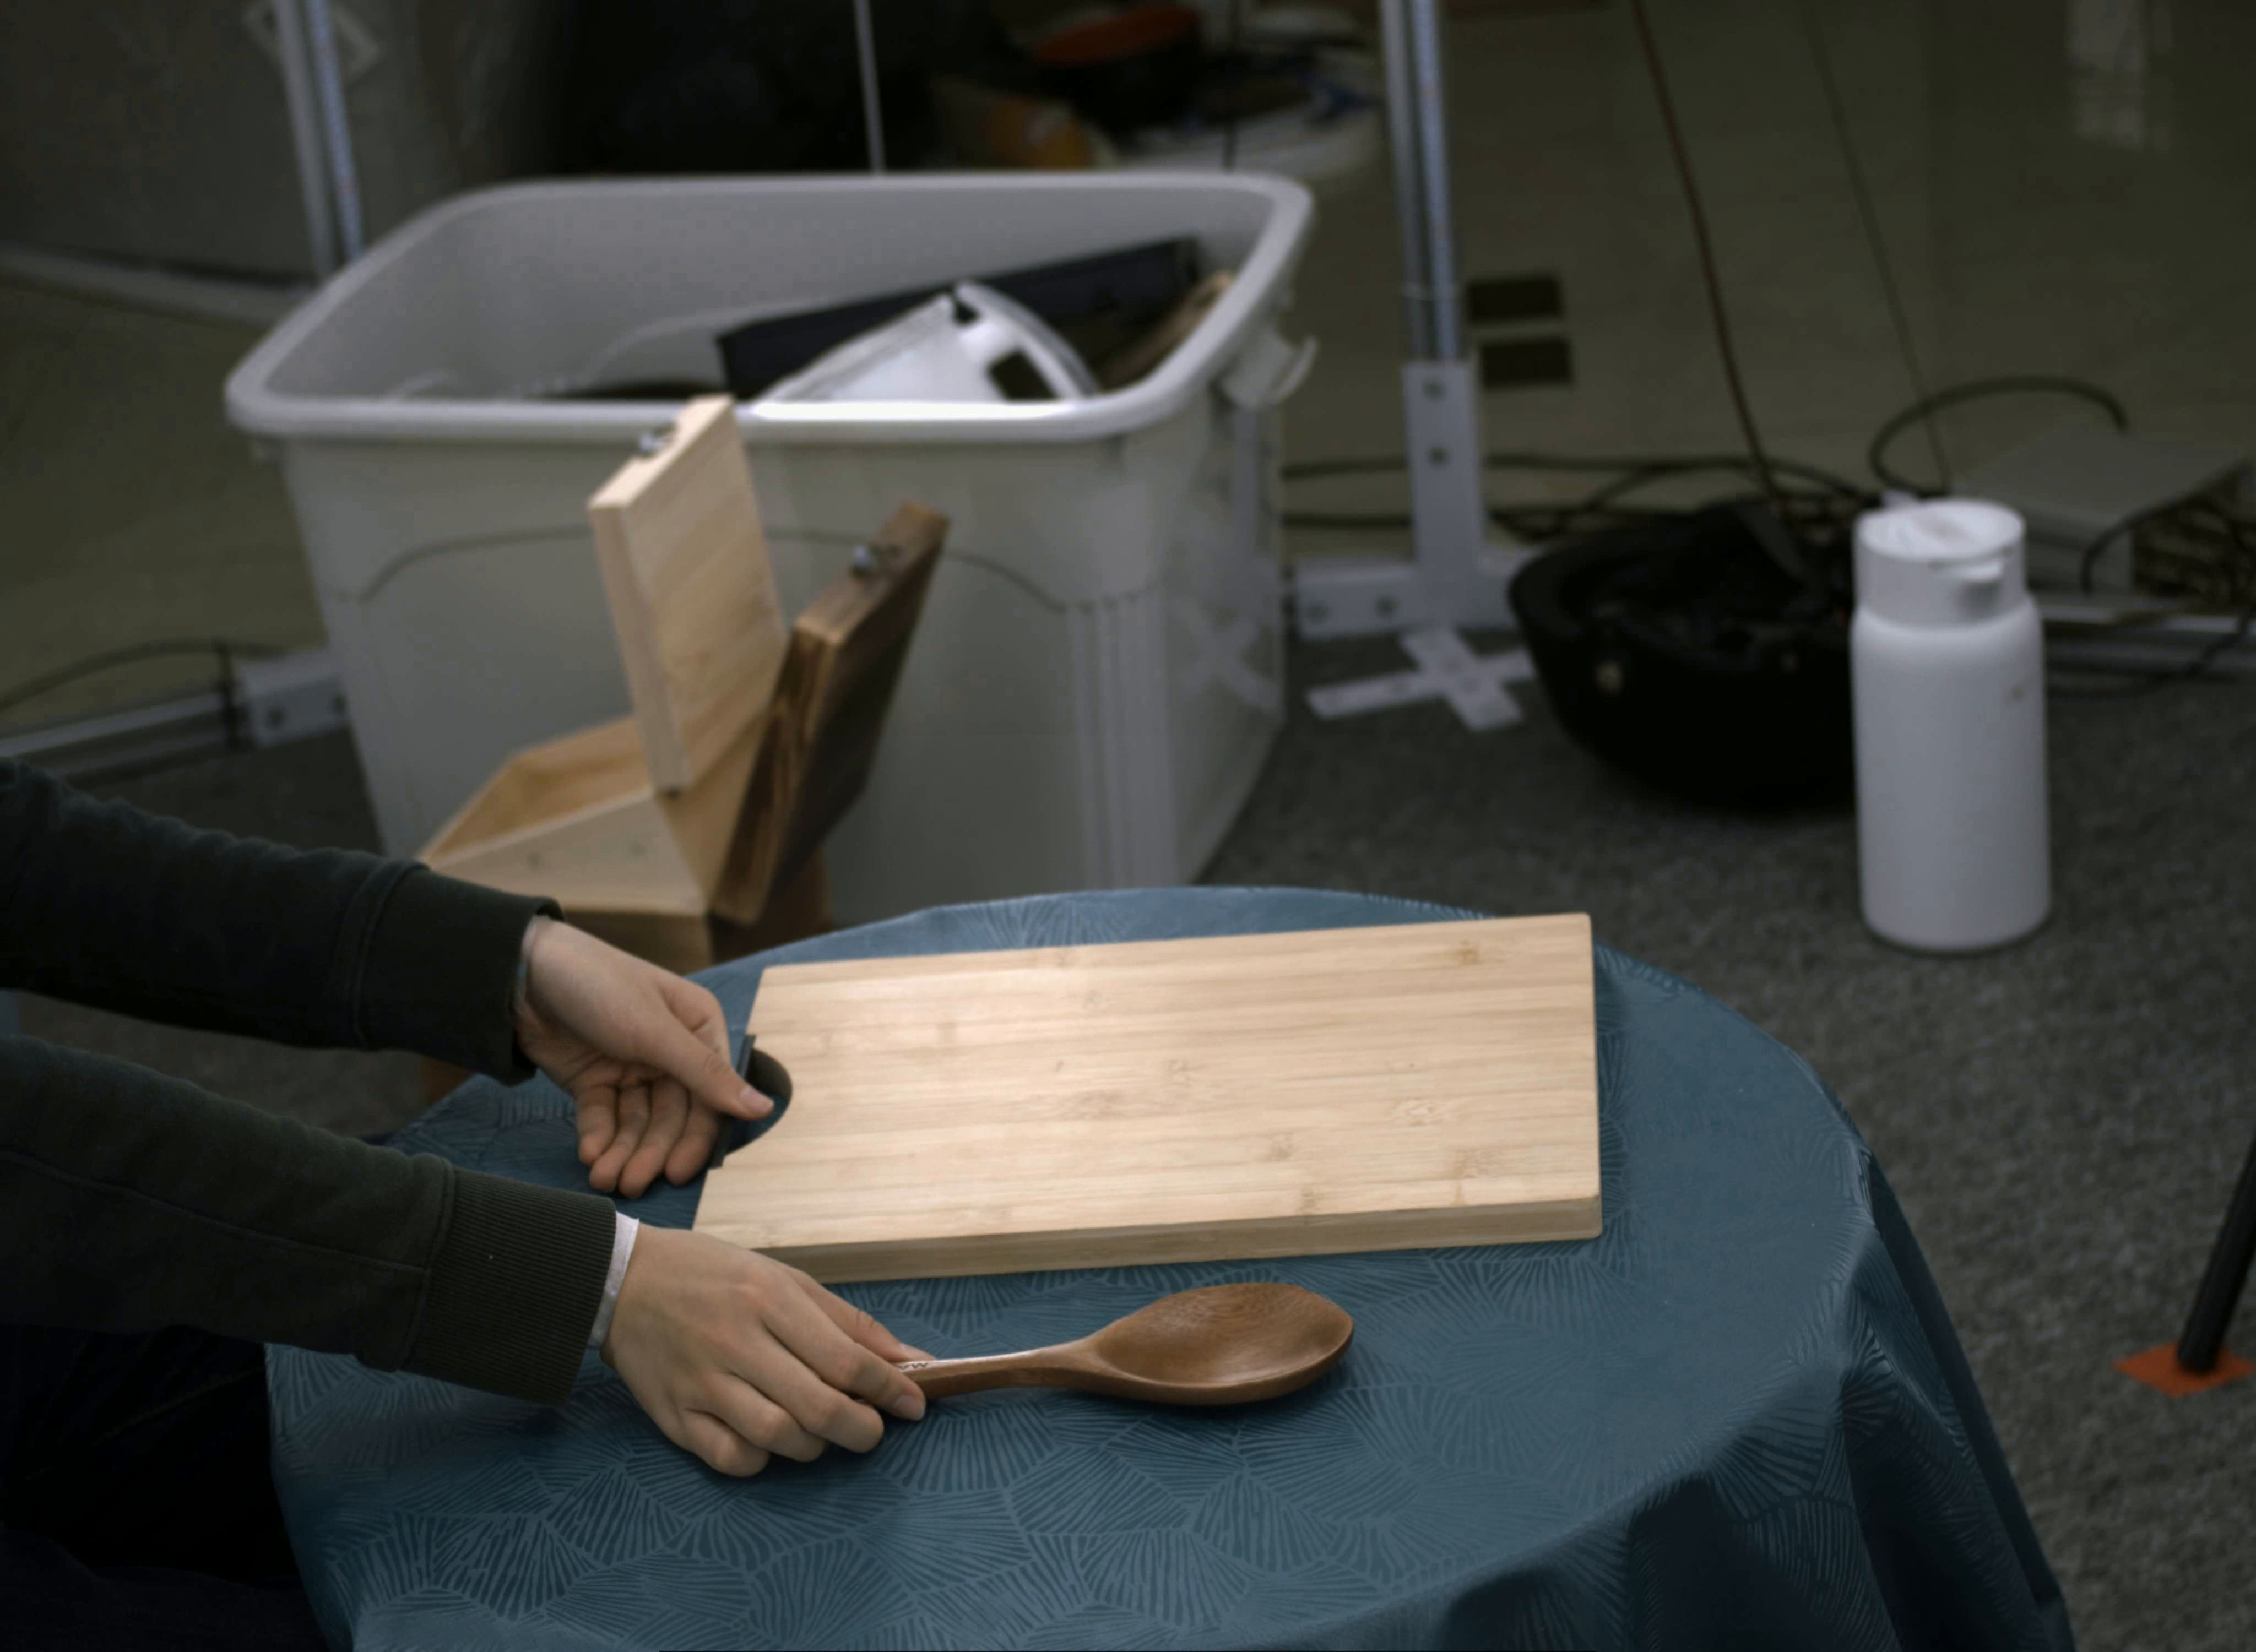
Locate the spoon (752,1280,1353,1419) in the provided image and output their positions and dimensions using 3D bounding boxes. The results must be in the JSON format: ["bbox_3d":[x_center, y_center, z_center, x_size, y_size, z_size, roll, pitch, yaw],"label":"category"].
[{"bbox_3d":[-0.027,0.193,2.023,0.215,0.017,0.074,-5,27,1],"label":"spoon"}]

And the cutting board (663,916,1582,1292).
[{"bbox_3d":[0.005,0.106,2.204,0.348,0.024,0.247,-4,24,5],"label":"cutting board"}]
